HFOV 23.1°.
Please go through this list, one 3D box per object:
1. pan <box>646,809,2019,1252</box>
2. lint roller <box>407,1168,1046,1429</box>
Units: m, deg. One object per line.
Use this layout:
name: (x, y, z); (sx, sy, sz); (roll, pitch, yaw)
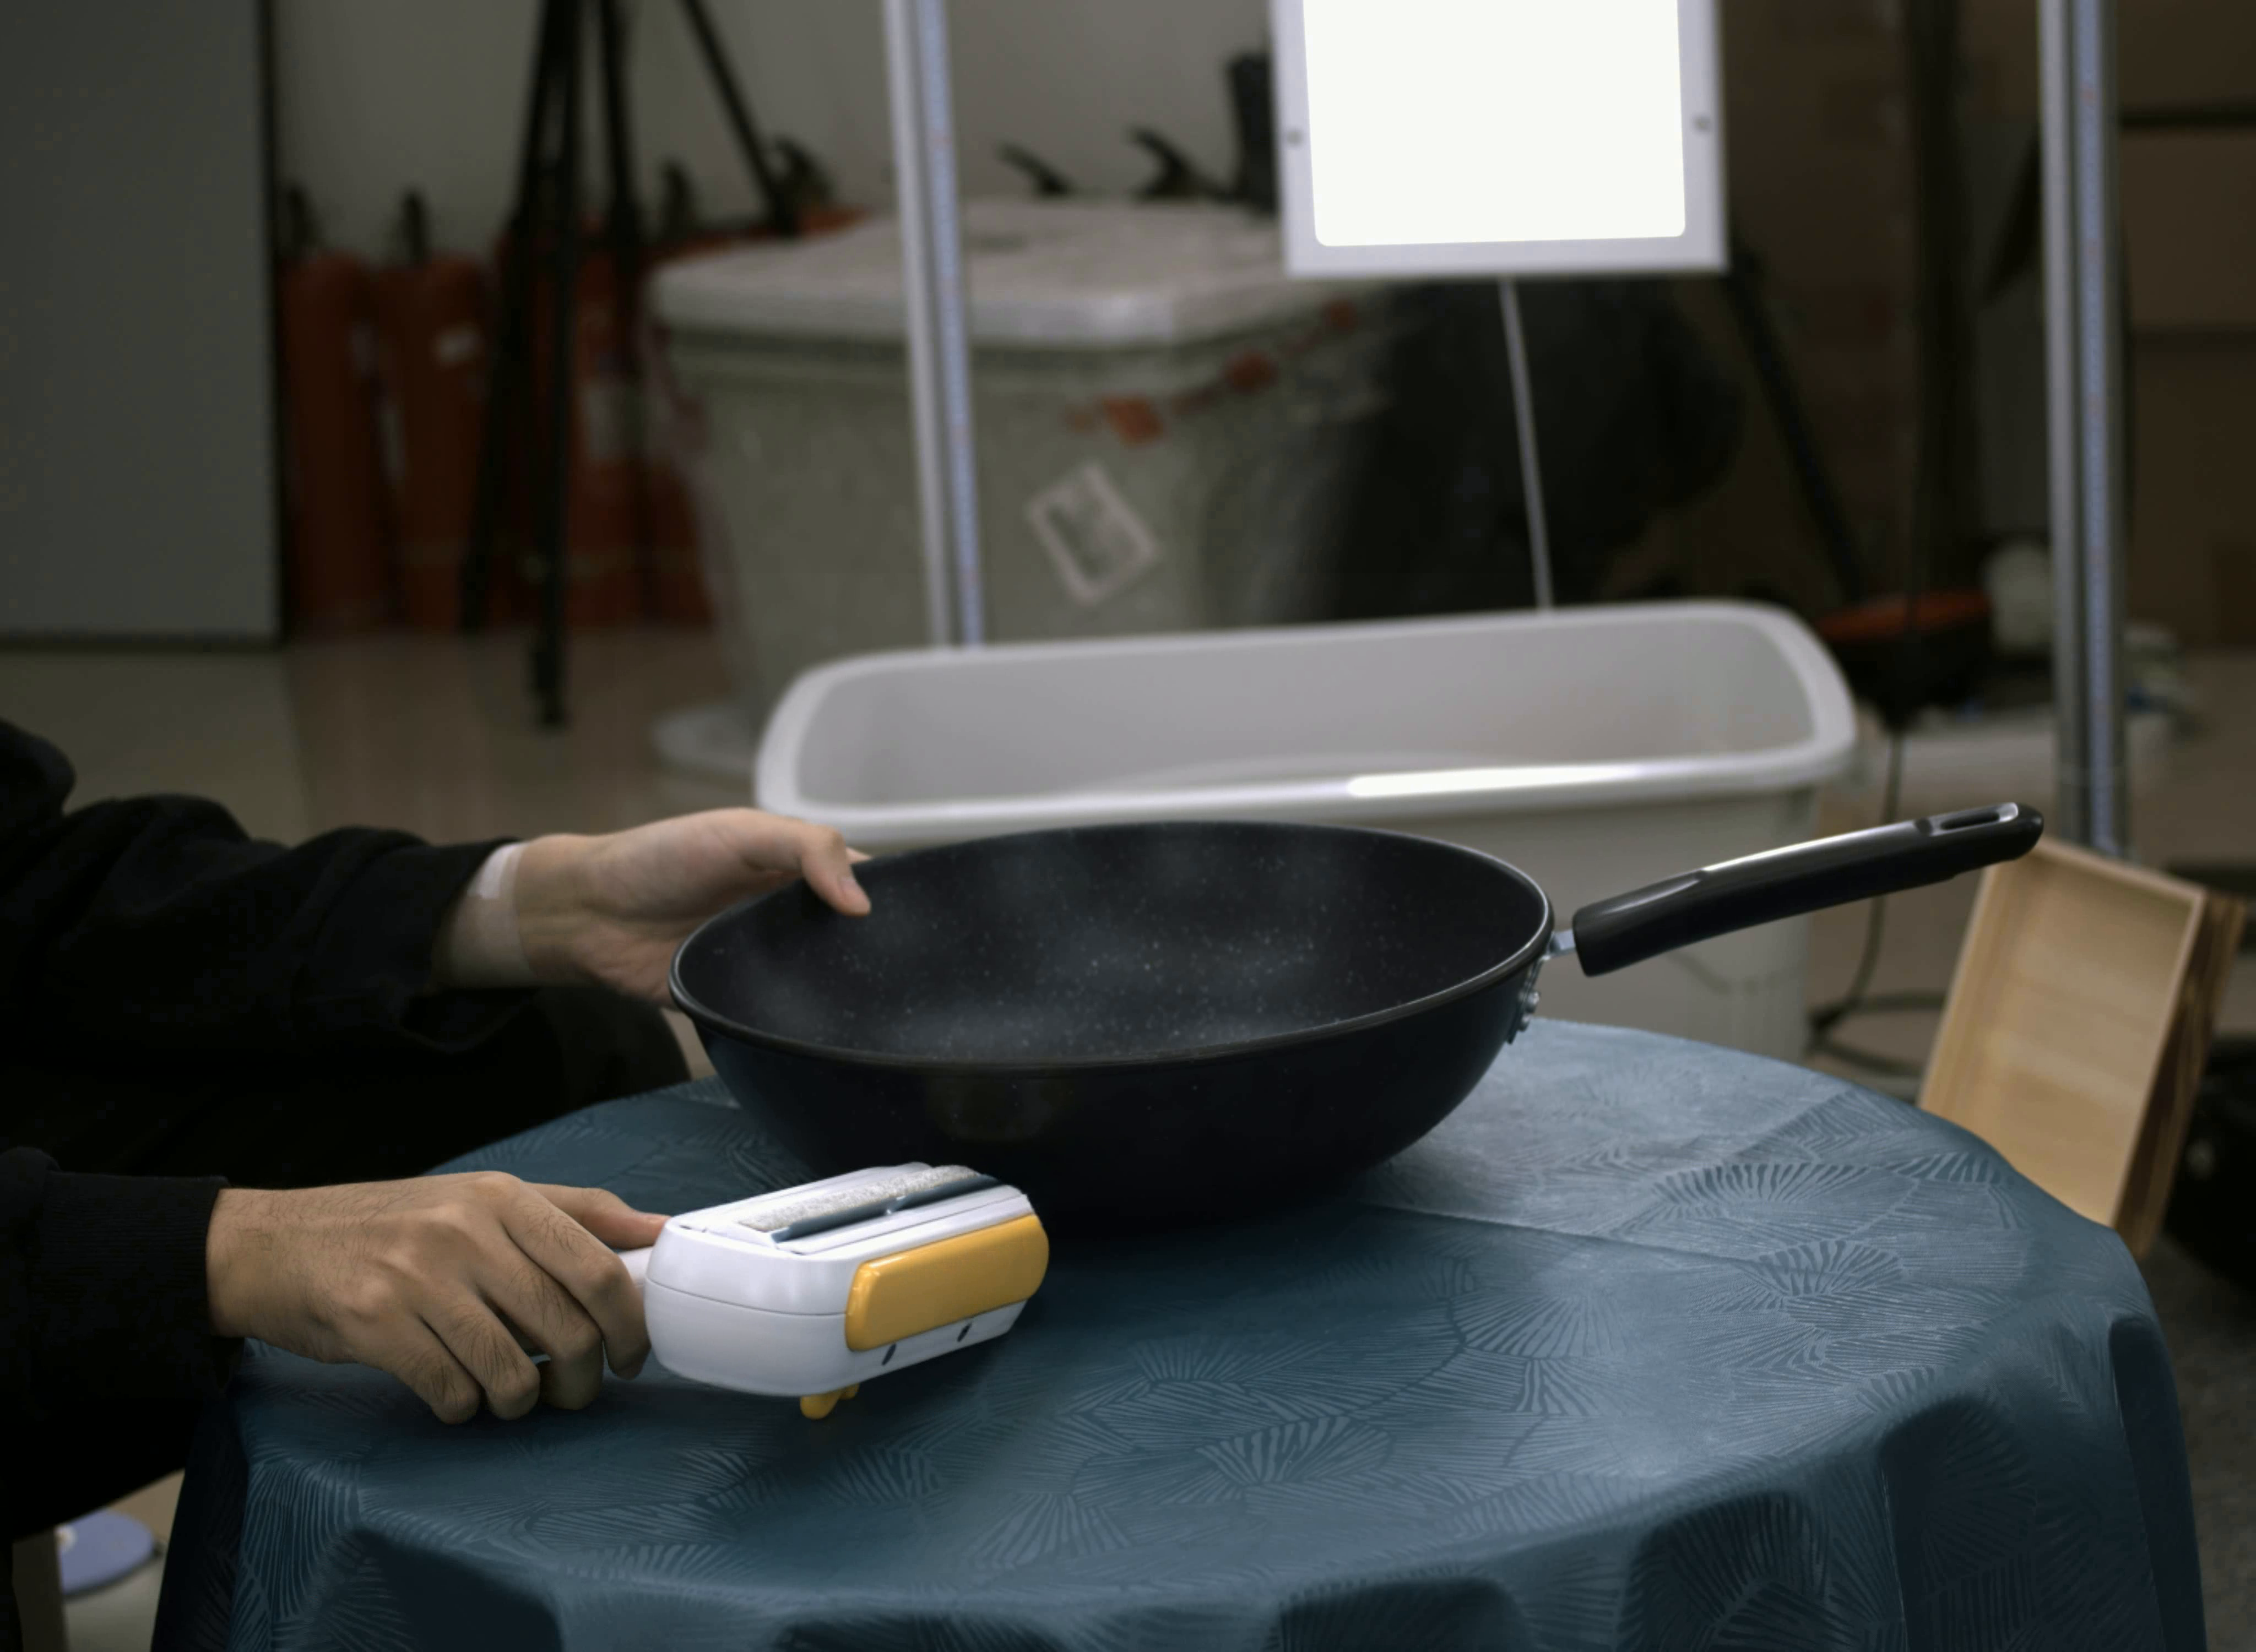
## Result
pan: (0.072, 0.063, 1.901); (0.478, 0.112, 0.308); (-4, 16, 7)
lint roller: (-0.141, 0.145, 1.724); (0.196, 0.074, 0.189); (2, 8, 27)
